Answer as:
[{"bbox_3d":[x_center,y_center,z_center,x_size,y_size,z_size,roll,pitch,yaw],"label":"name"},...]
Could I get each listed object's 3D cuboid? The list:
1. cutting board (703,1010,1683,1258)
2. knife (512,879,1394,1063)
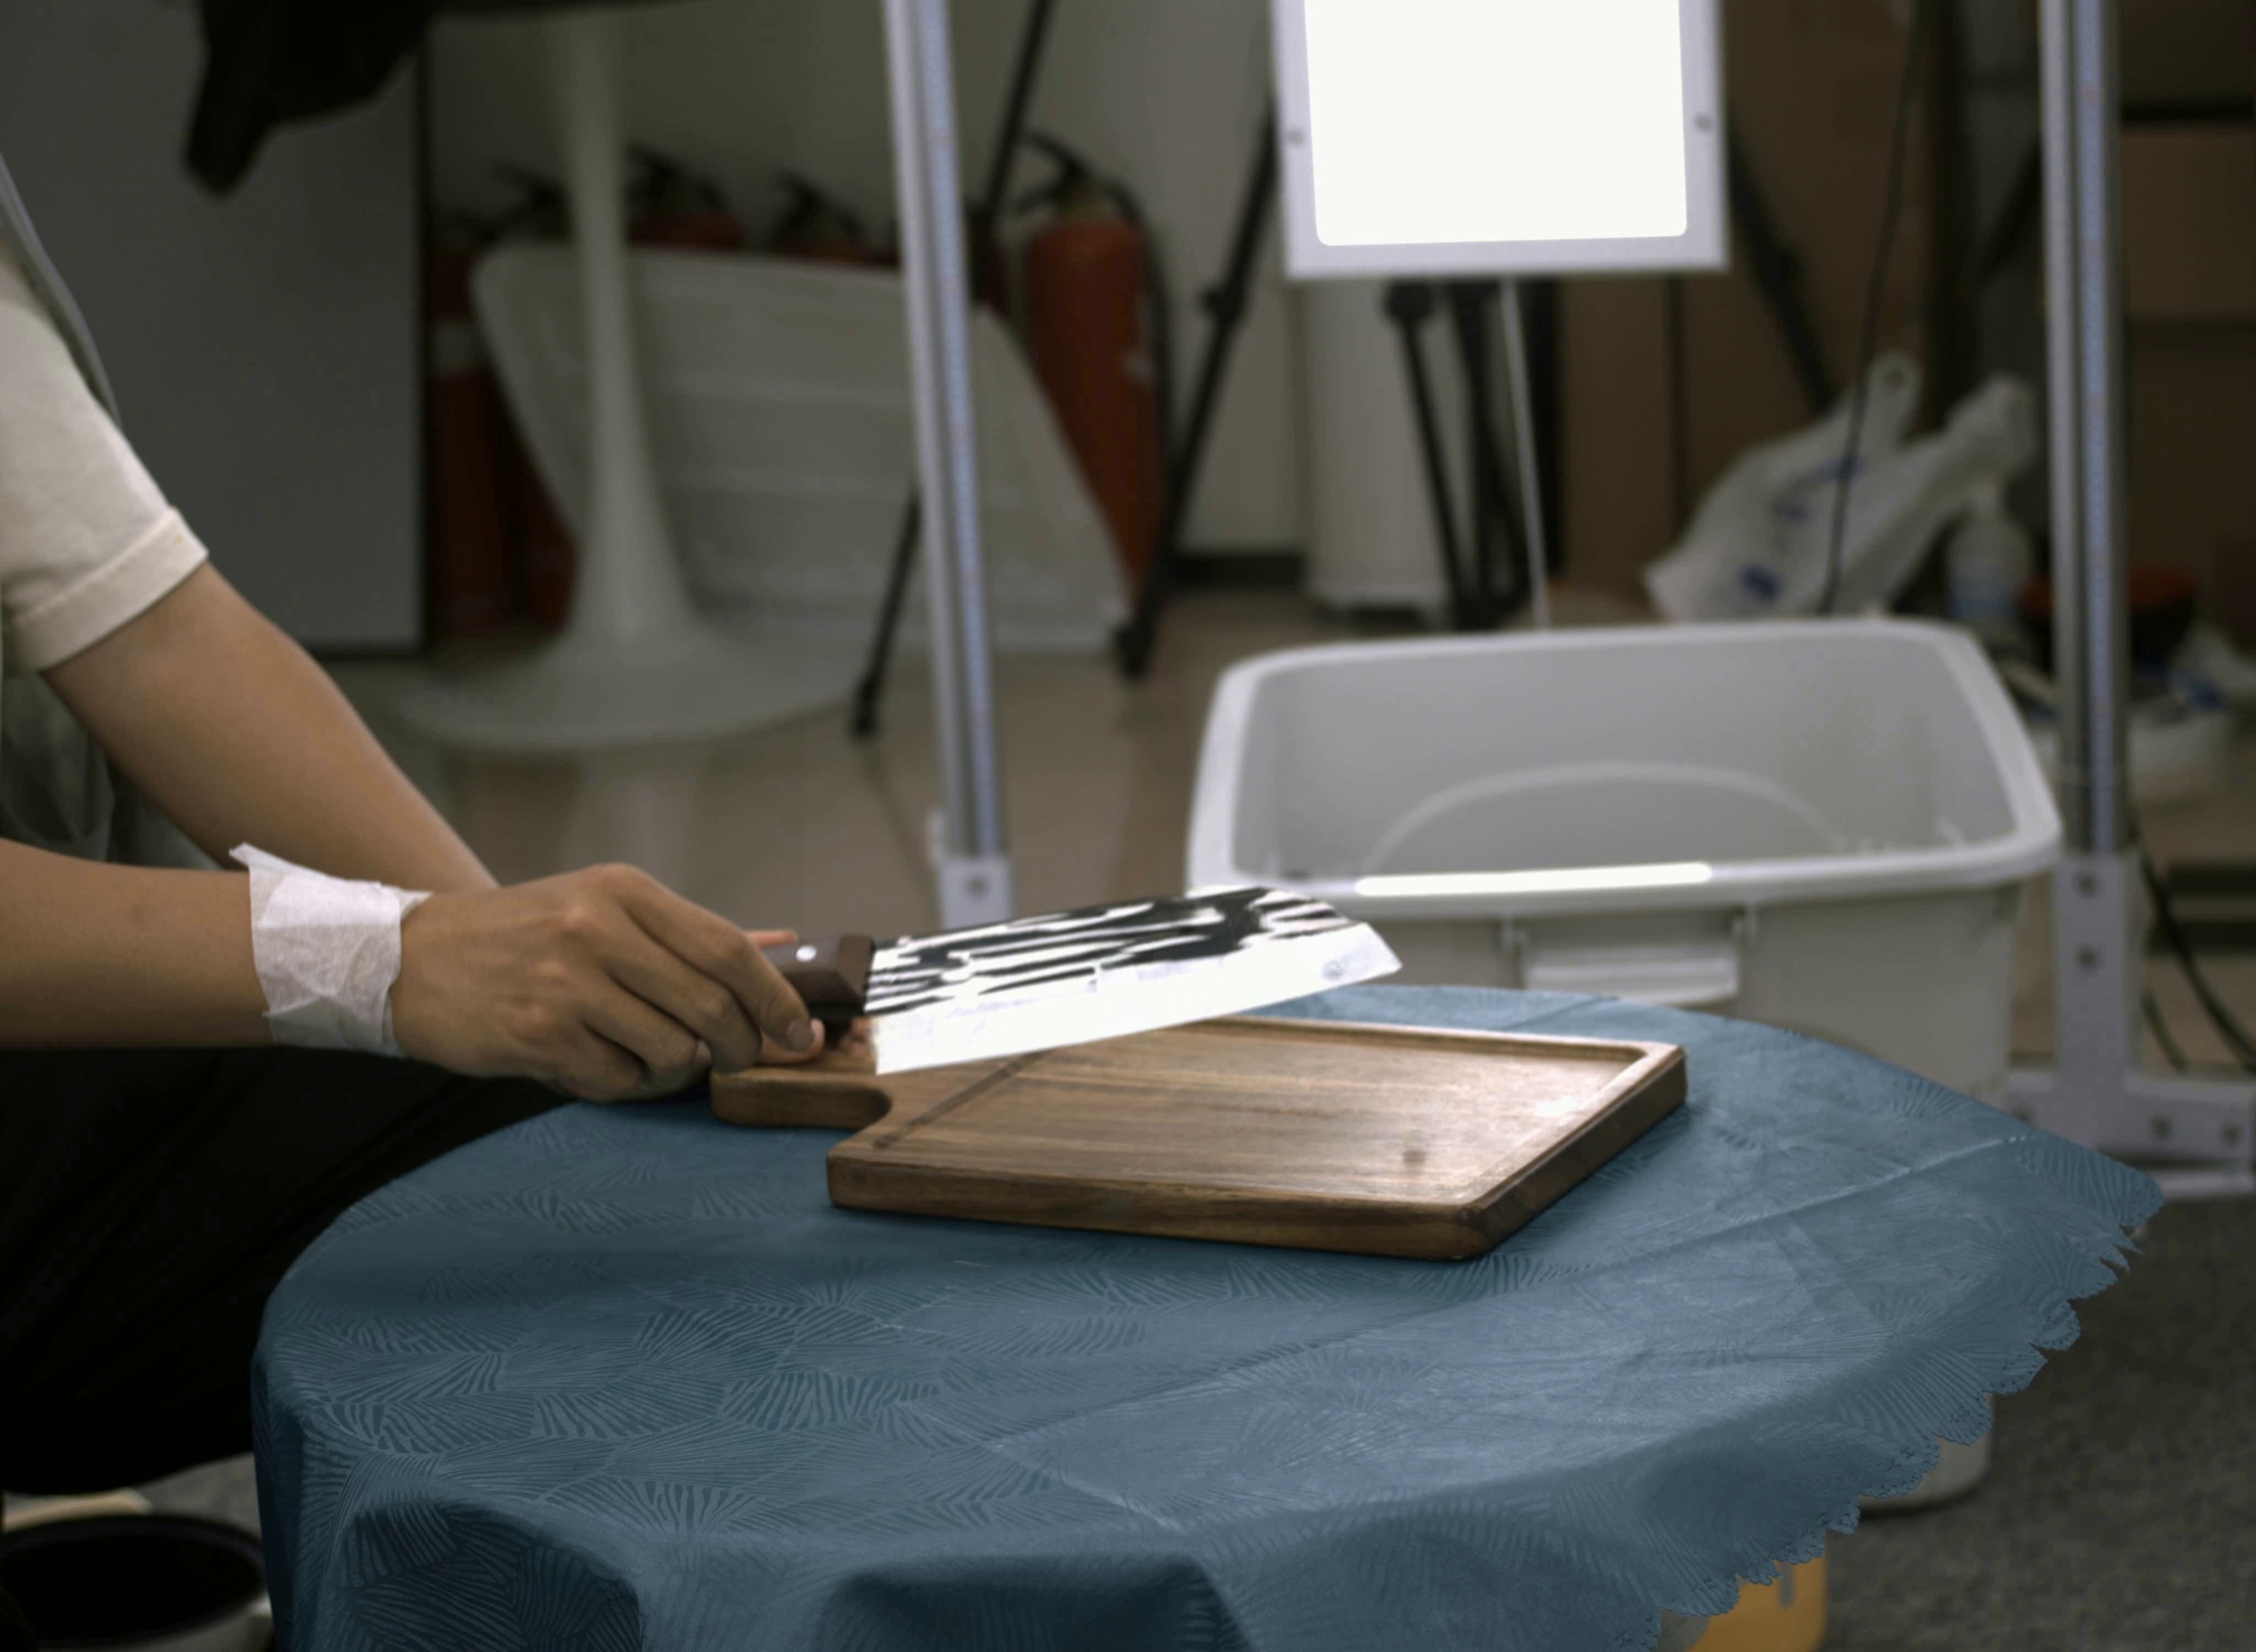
[{"bbox_3d":[0.002,0.102,1.954,0.359,0.023,0.196,2,16,30],"label":"cutting board"},{"bbox_3d":[-0.060,0.054,1.856,0.299,0.024,0.068,-9,39,3],"label":"knife"}]
